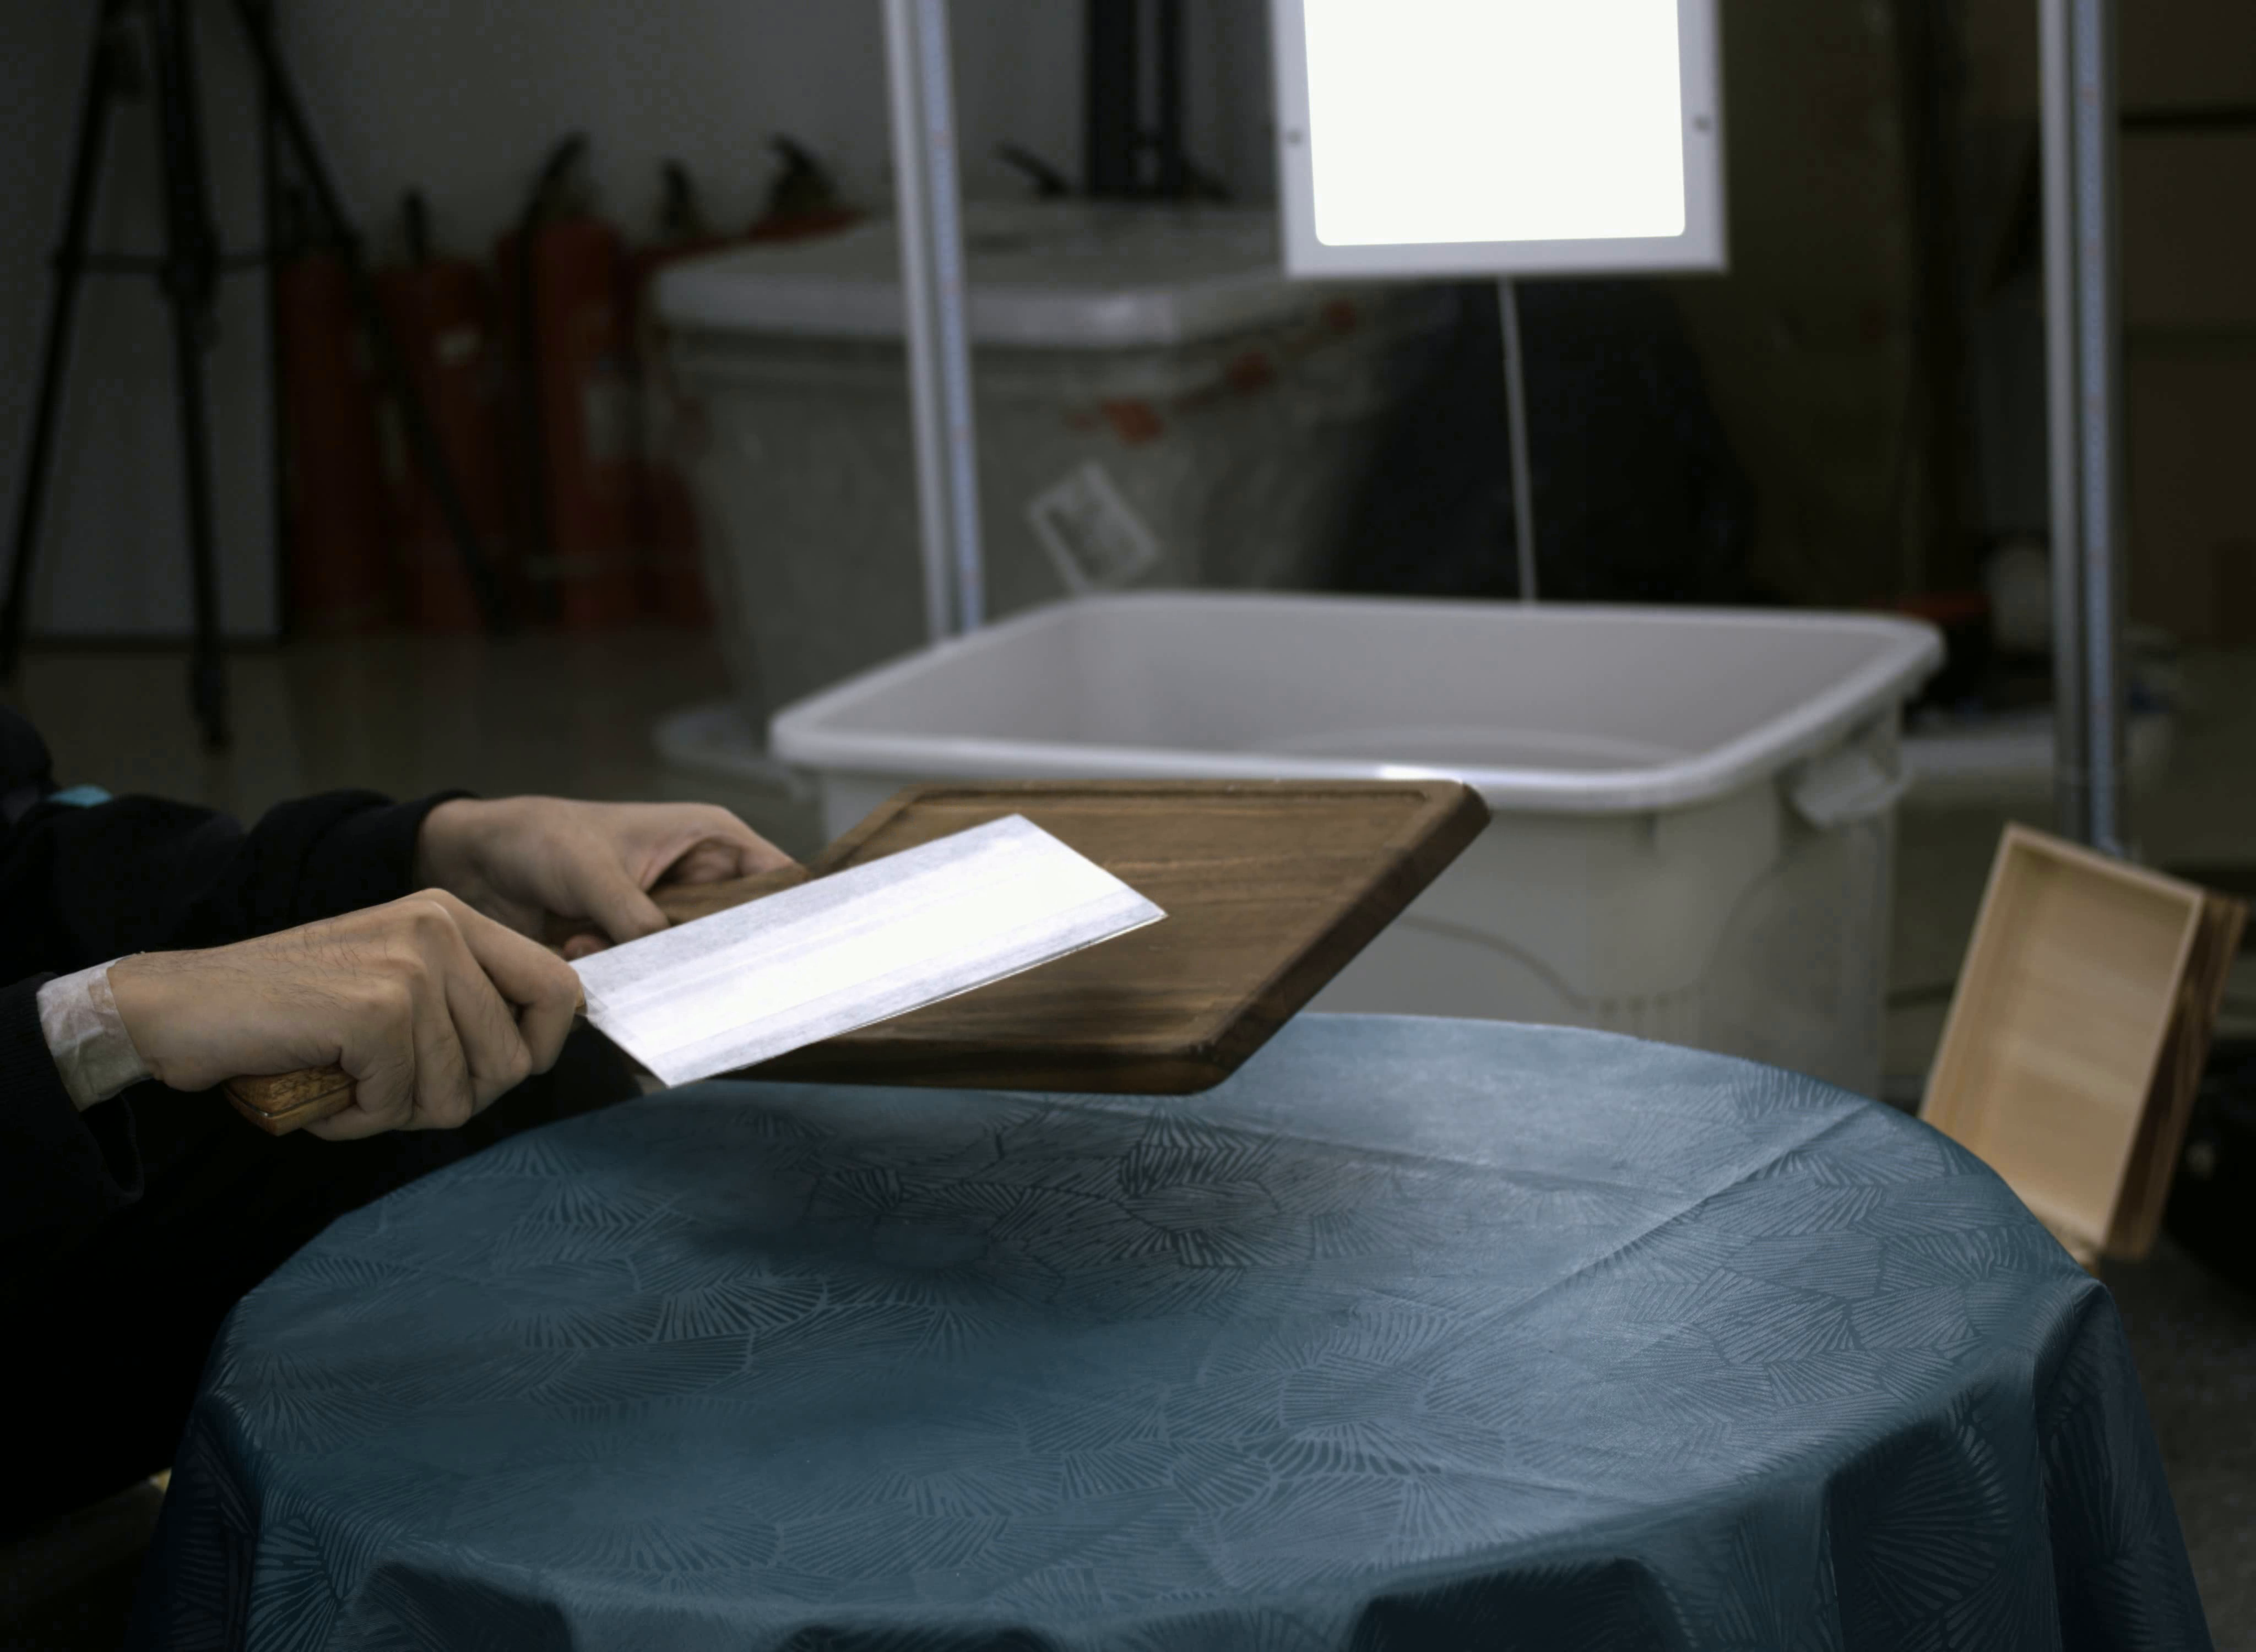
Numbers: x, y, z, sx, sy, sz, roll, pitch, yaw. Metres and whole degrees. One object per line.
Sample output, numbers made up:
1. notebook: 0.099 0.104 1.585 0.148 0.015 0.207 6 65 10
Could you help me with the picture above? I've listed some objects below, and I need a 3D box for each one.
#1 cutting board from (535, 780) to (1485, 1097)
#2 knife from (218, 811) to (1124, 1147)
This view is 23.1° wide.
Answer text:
1. cutting board: -0.067 0.037 1.927 0.359 0.023 0.197 -1 27 36
2. knife: -0.137 0.053 1.756 0.299 0.021 0.094 -19 33 -28
